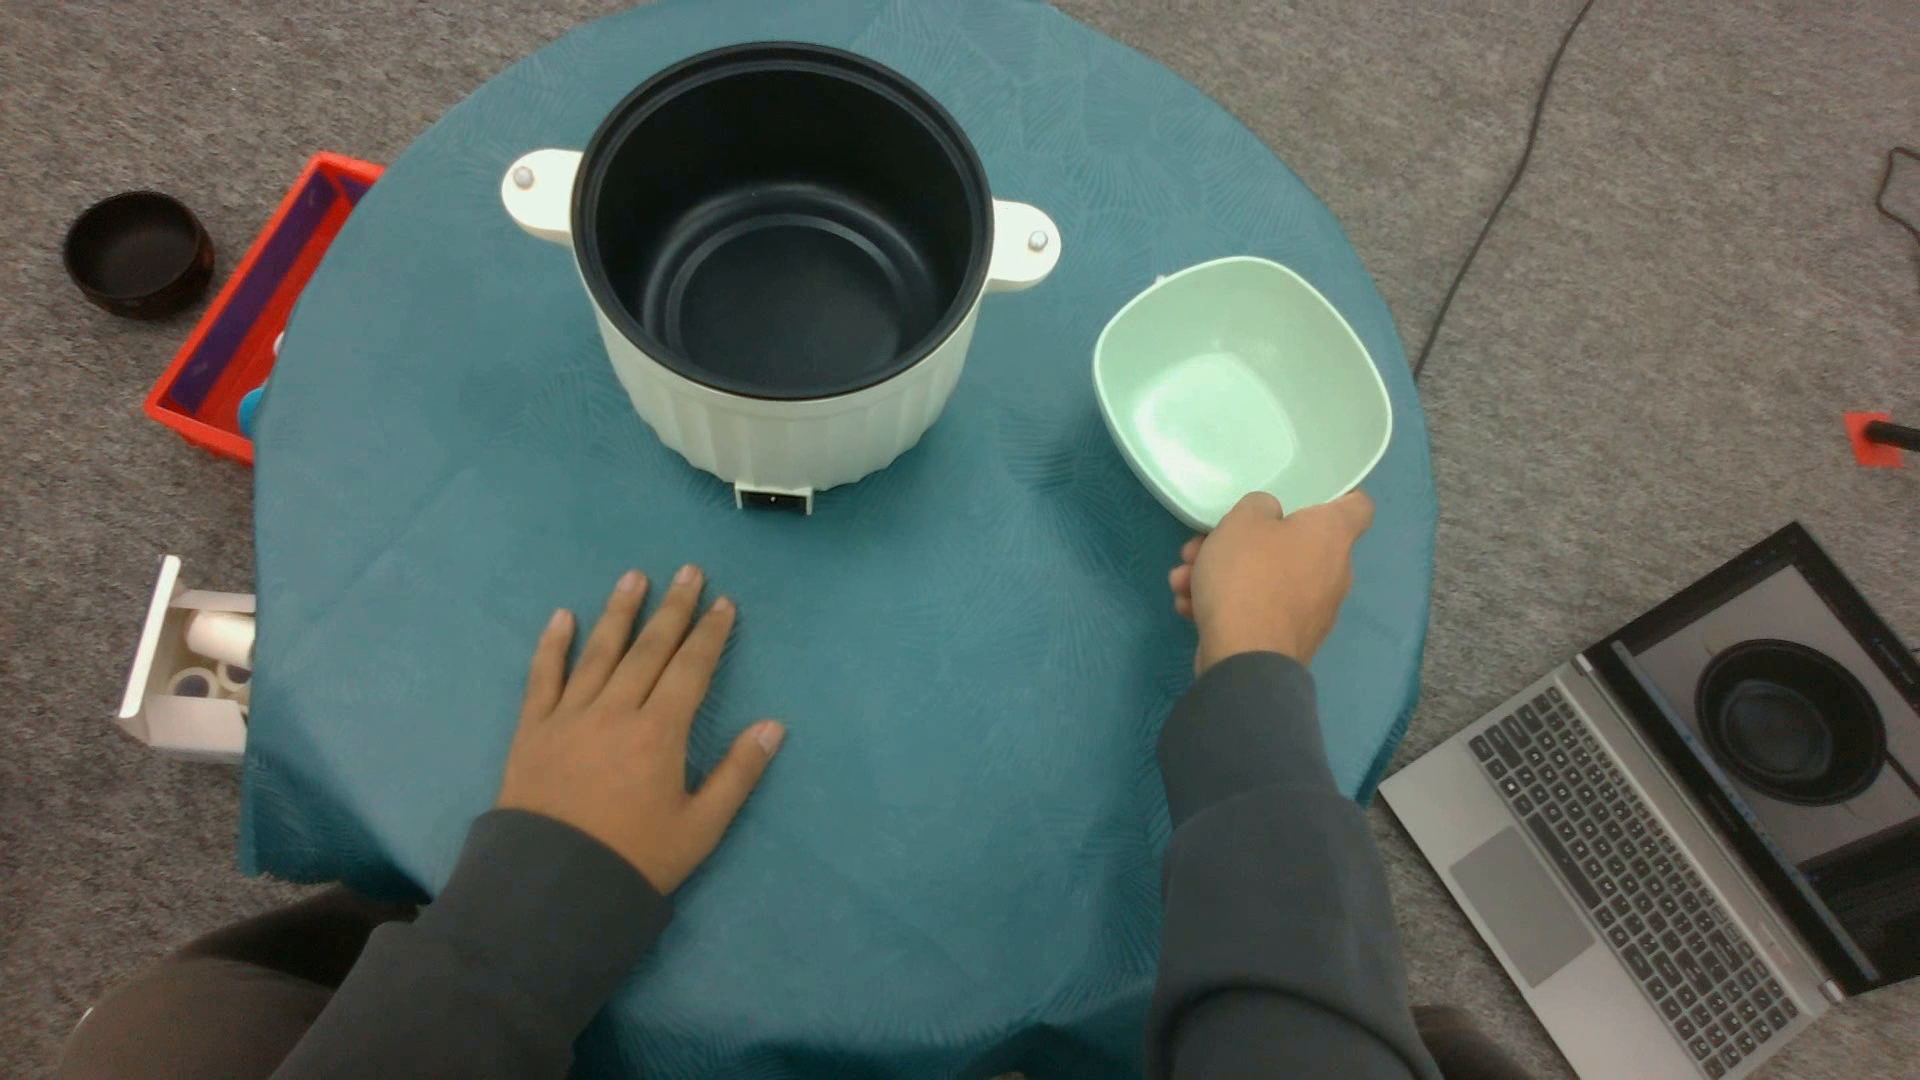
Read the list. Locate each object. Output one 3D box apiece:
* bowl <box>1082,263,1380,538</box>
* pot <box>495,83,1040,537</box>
[{"bbox_3d":[0.132,-0.063,0.706,0.151,0.058,0.152,2,68,-6],"label":"bowl"},{"bbox_3d":[-0.090,-0.110,0.671,0.240,0.142,0.191,1,70,-6],"label":"pot"}]
